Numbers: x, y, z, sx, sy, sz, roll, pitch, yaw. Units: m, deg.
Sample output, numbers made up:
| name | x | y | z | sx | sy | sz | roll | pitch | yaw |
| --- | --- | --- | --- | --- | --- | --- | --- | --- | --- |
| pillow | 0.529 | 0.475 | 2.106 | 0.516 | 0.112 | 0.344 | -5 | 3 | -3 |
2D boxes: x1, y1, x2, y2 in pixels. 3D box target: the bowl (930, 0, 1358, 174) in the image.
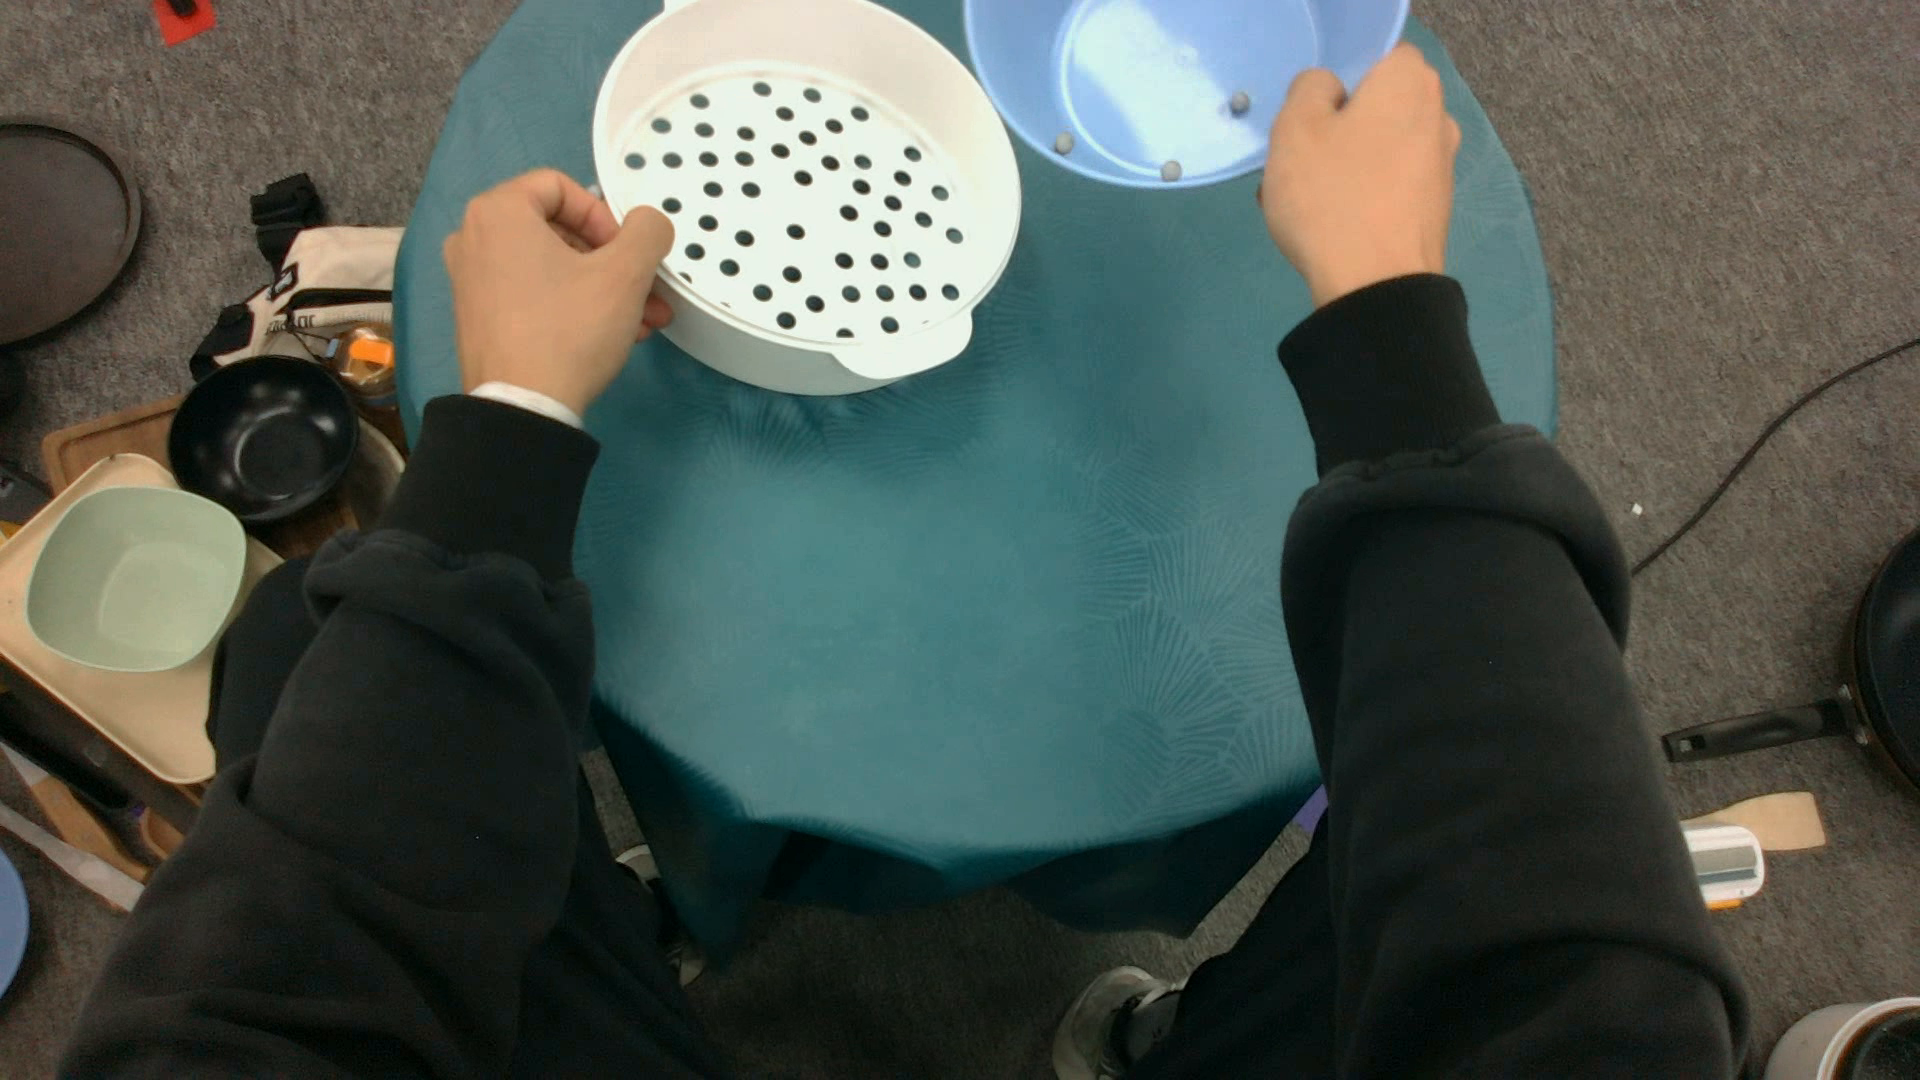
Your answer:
| name | x | y | z | sx | sy | sz | roll | pitch | yaw |
| --- | --- | --- | --- | --- | --- | --- | --- | --- | --- |
| bowl | 0.079 | -0.227 | 0.582 | 0.176 | 0.070 | 0.176 | -2 | 81 | 13 |

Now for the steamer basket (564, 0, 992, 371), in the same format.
| name | x | y | z | sx | sy | sz | roll | pitch | yaw |
| --- | --- | --- | --- | --- | --- | --- | --- | --- | --- |
| steamer basket | -0.089 | -0.178 | 0.669 | 0.202 | 0.069 | 0.231 | -22 | 75 | -25 |
